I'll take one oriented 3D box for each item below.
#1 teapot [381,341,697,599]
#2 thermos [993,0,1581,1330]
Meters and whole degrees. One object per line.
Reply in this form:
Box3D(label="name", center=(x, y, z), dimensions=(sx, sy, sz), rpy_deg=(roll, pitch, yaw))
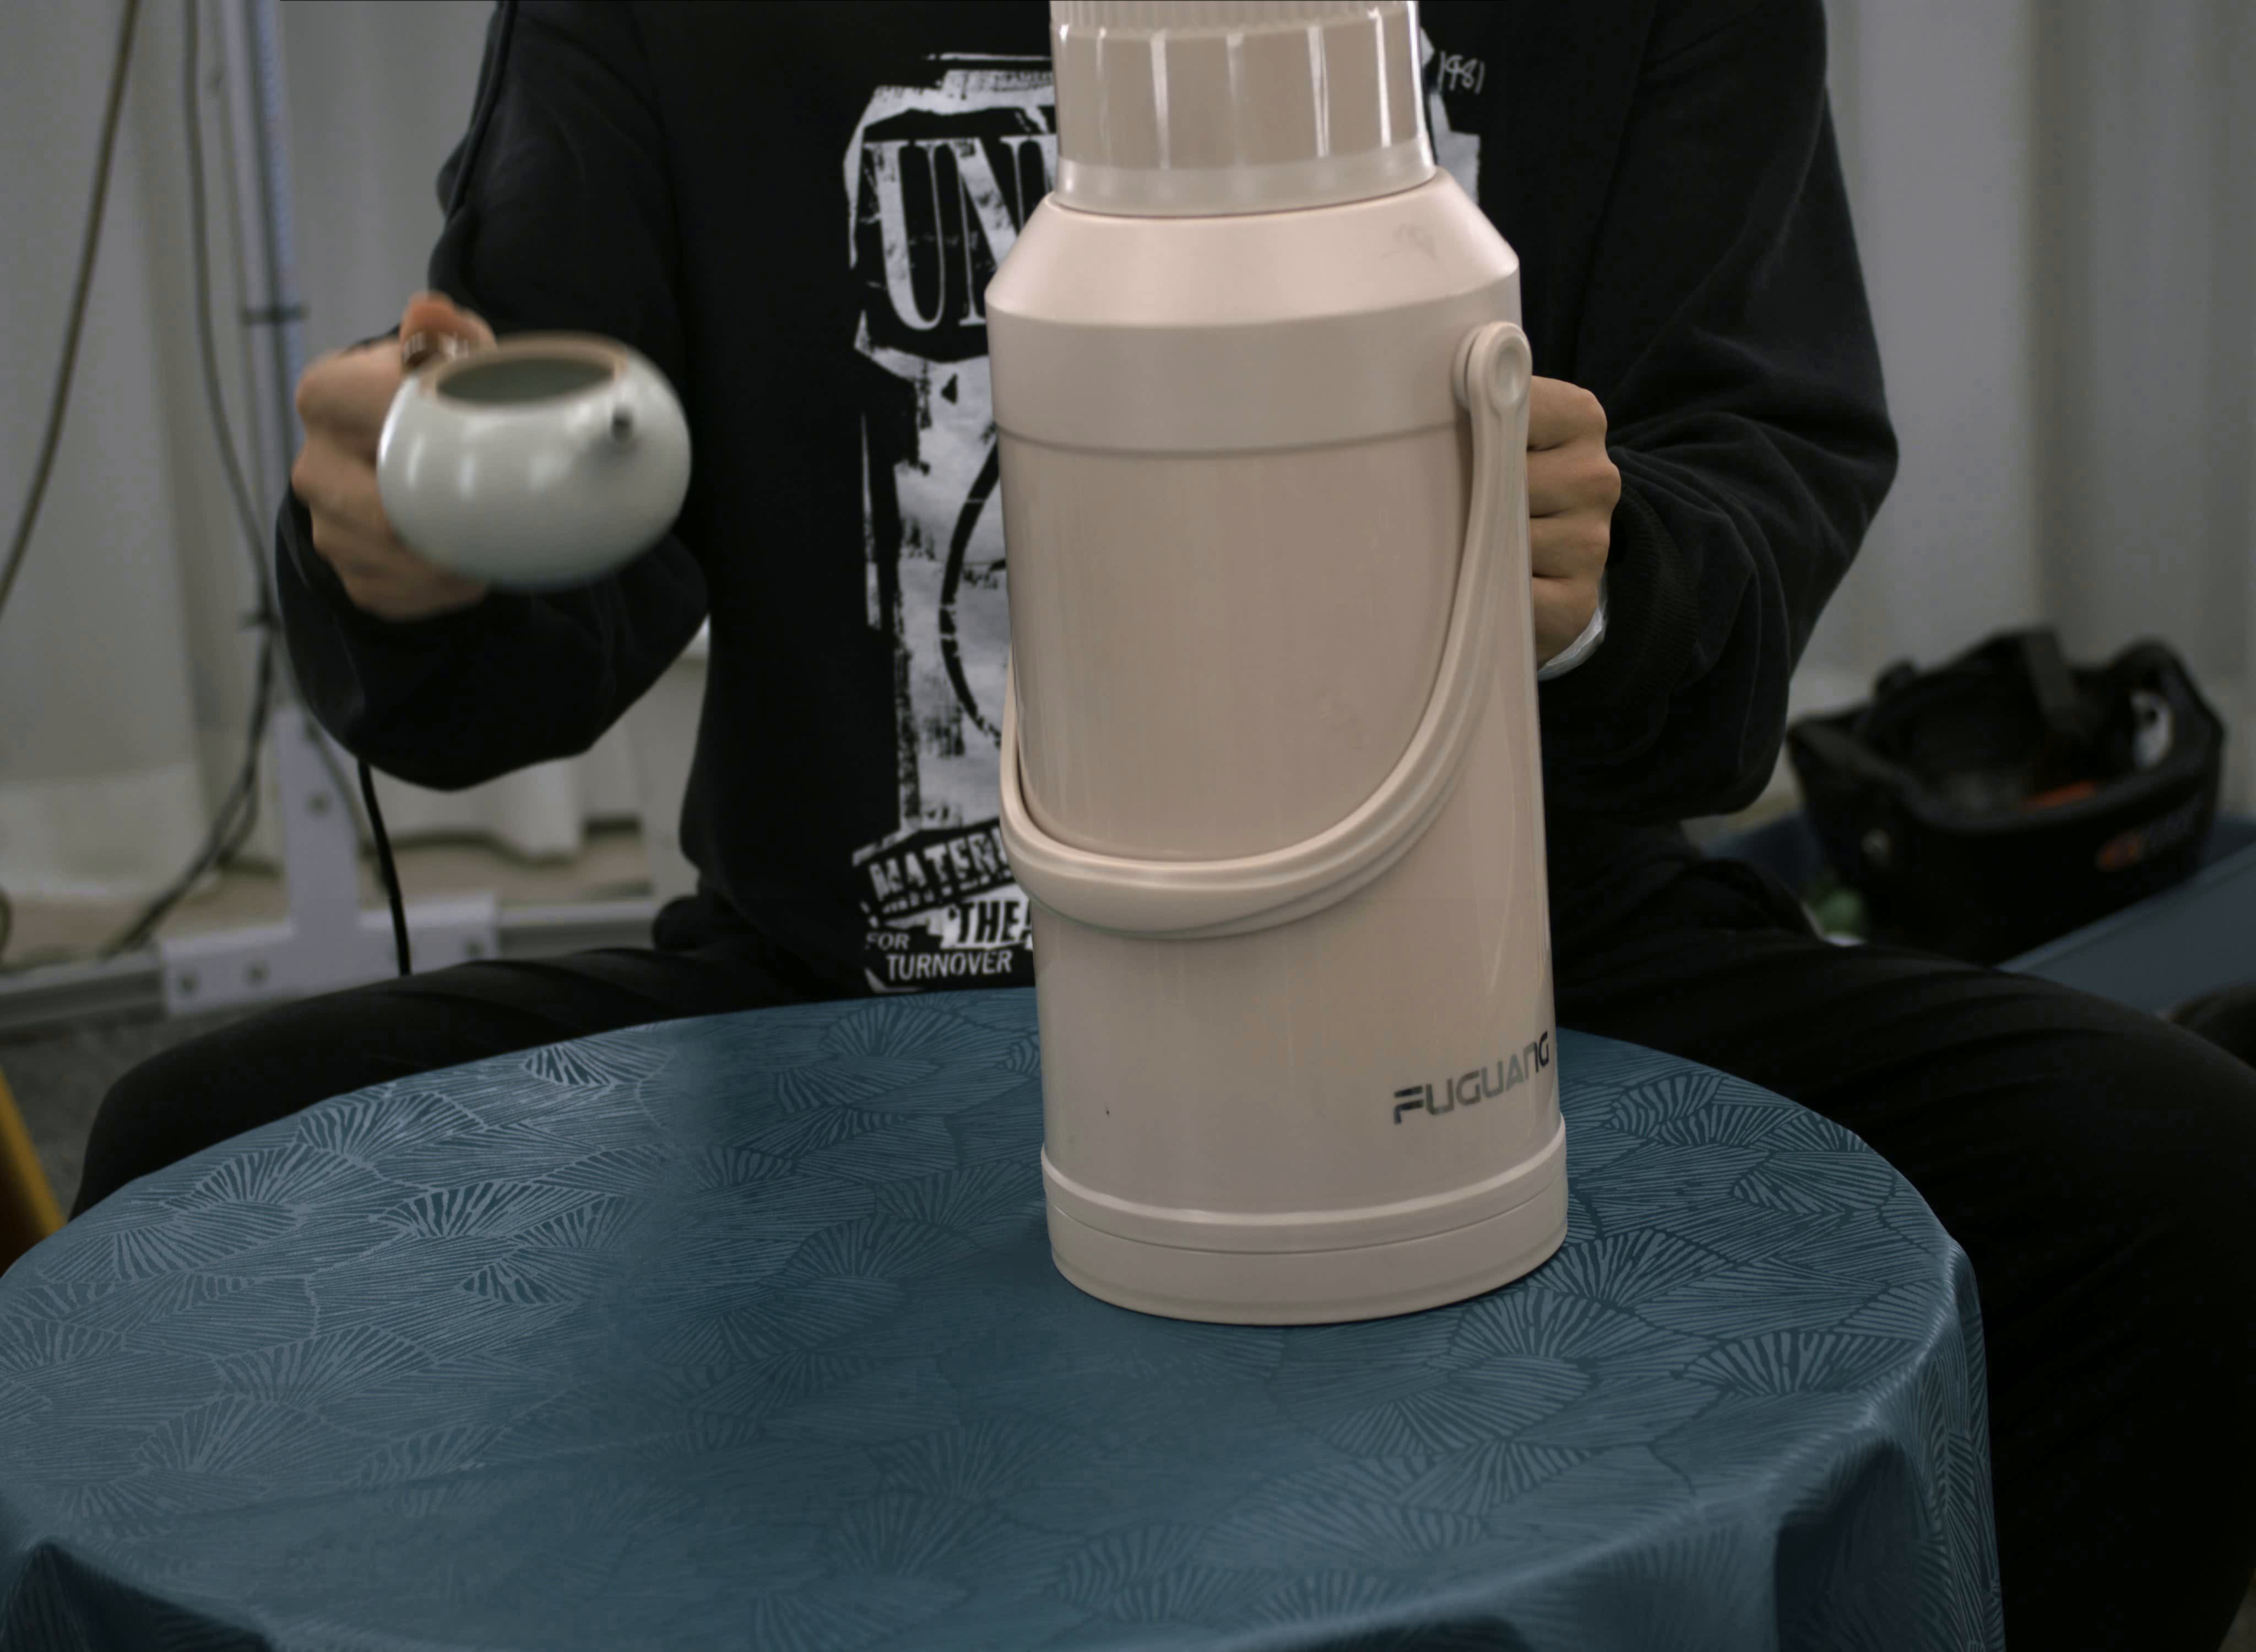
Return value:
Box3D(label="teapot", center=(-0.178, -0.106, 1.604), dimensions=(0.092, 0.059, 0.129), rpy_deg=(-23, 30, -33))
Box3D(label="thermos", center=(0.054, -0.069, 1.626), dimensions=(0.176, 0.405, 0.207), rpy_deg=(4, 16, 35))
